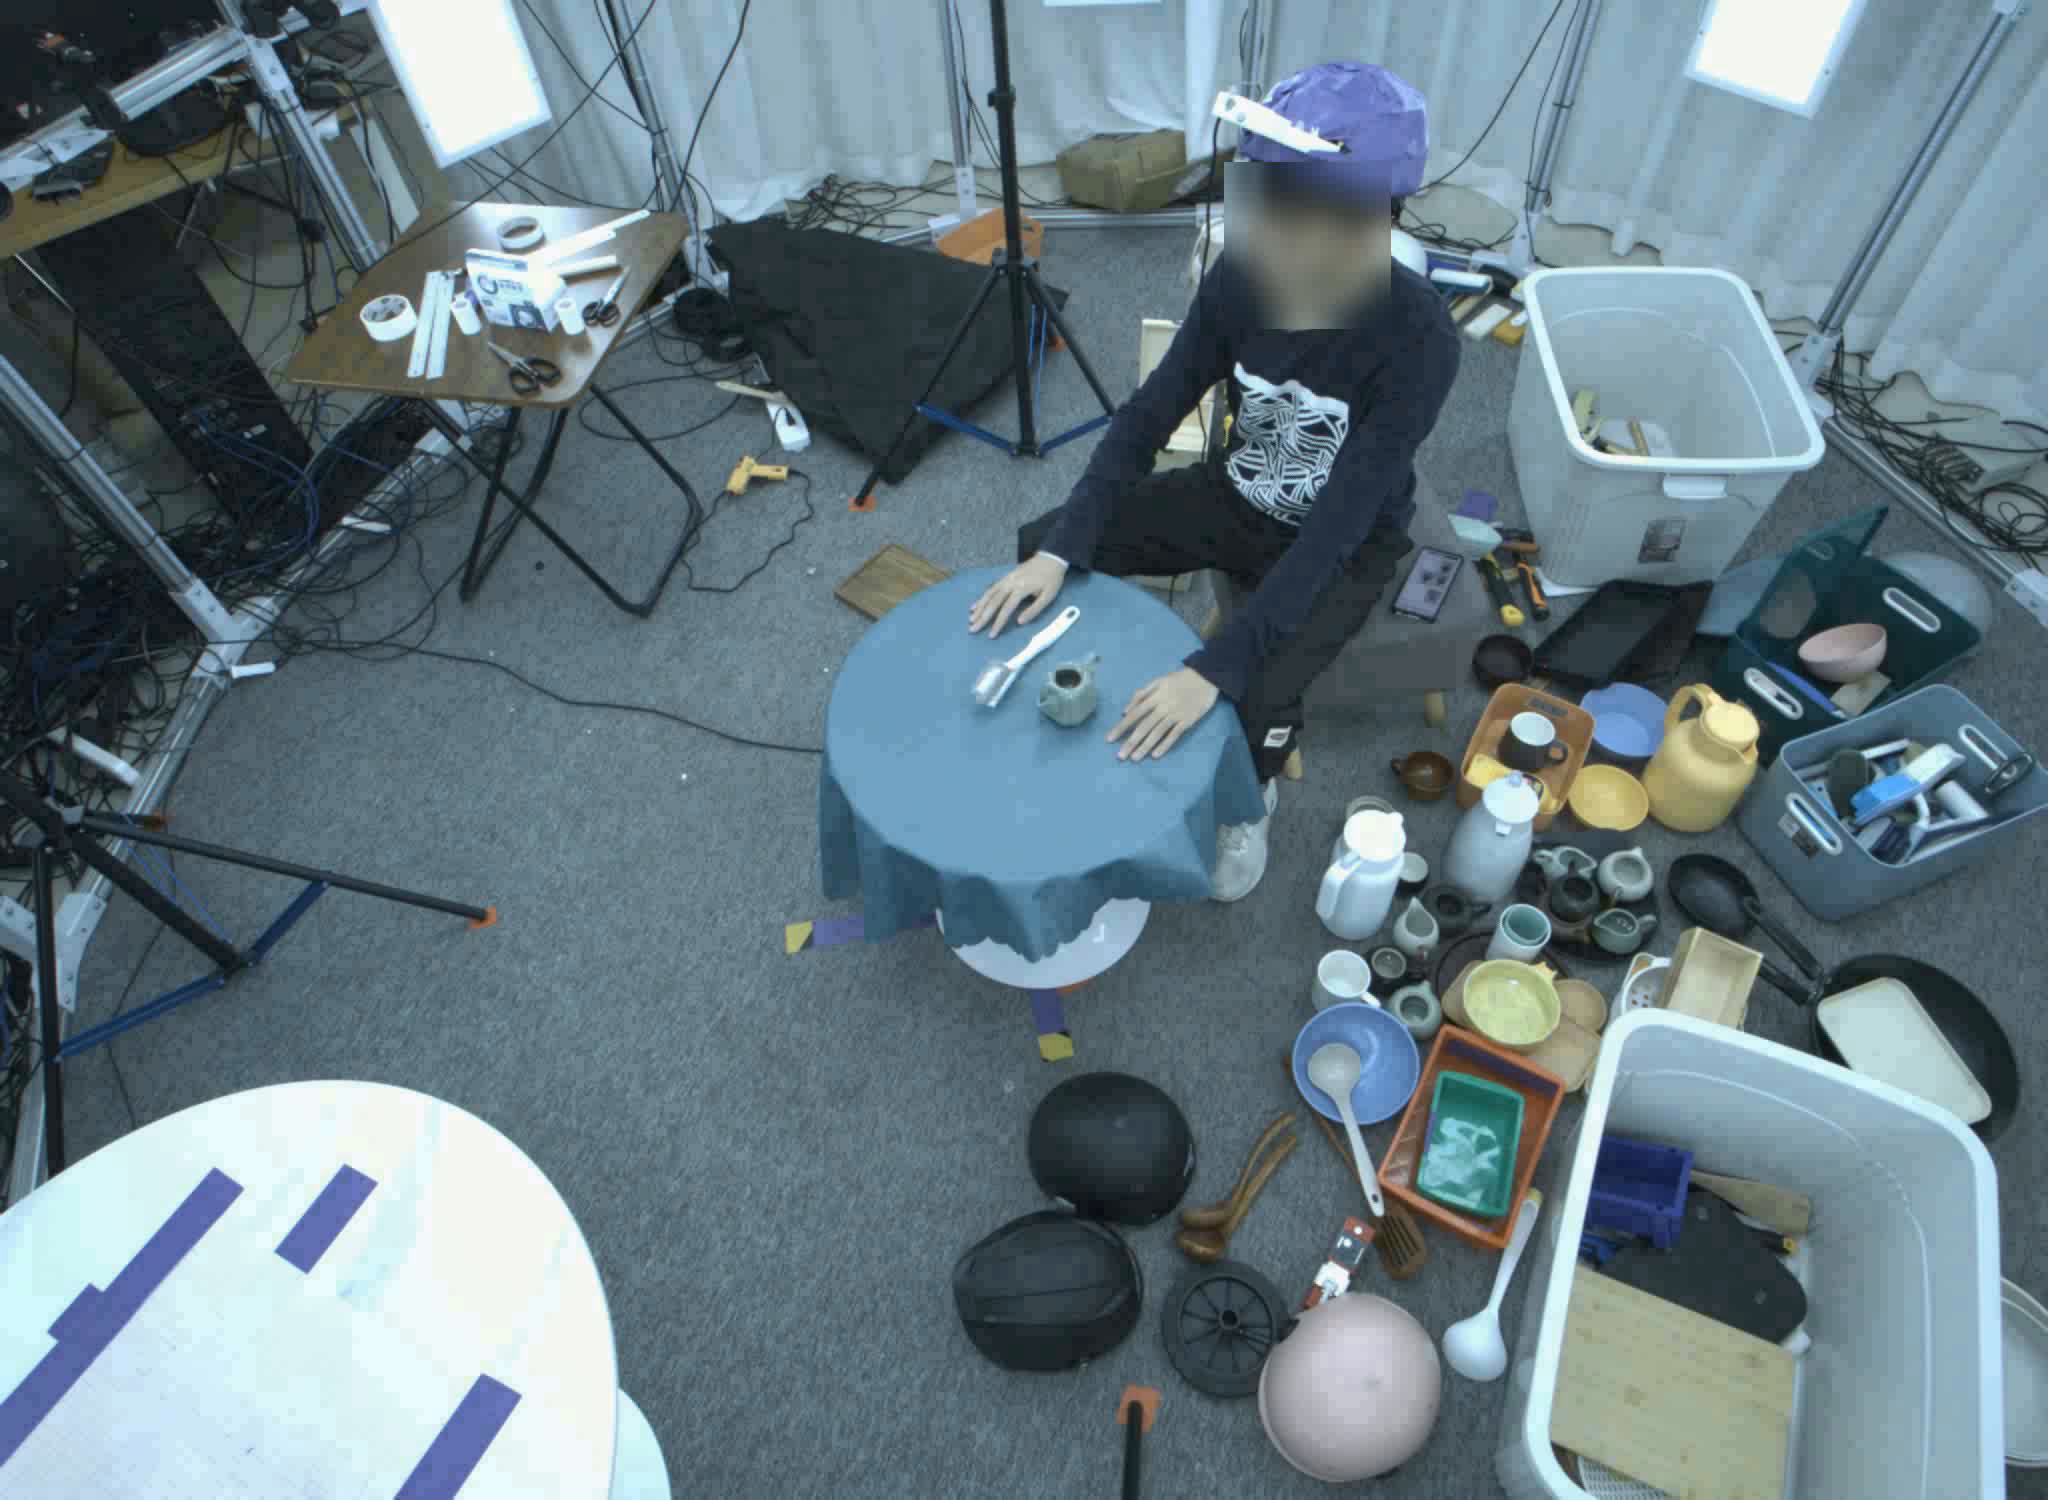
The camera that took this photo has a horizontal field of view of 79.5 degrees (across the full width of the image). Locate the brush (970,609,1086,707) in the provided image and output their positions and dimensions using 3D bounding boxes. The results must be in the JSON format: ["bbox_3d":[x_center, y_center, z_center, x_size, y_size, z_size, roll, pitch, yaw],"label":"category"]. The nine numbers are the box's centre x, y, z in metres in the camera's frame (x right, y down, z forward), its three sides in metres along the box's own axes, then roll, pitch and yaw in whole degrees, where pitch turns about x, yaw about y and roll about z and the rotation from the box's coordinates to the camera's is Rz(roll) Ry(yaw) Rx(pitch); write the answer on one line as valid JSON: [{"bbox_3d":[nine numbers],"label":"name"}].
[{"bbox_3d":[0.009,-0.153,1.860,0.034,0.051,0.245,31,61,29],"label":"brush"}]

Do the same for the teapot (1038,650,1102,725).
[{"bbox_3d":[0.067,-0.087,1.794,0.078,0.076,0.133,35,62,24],"label":"teapot"}]
